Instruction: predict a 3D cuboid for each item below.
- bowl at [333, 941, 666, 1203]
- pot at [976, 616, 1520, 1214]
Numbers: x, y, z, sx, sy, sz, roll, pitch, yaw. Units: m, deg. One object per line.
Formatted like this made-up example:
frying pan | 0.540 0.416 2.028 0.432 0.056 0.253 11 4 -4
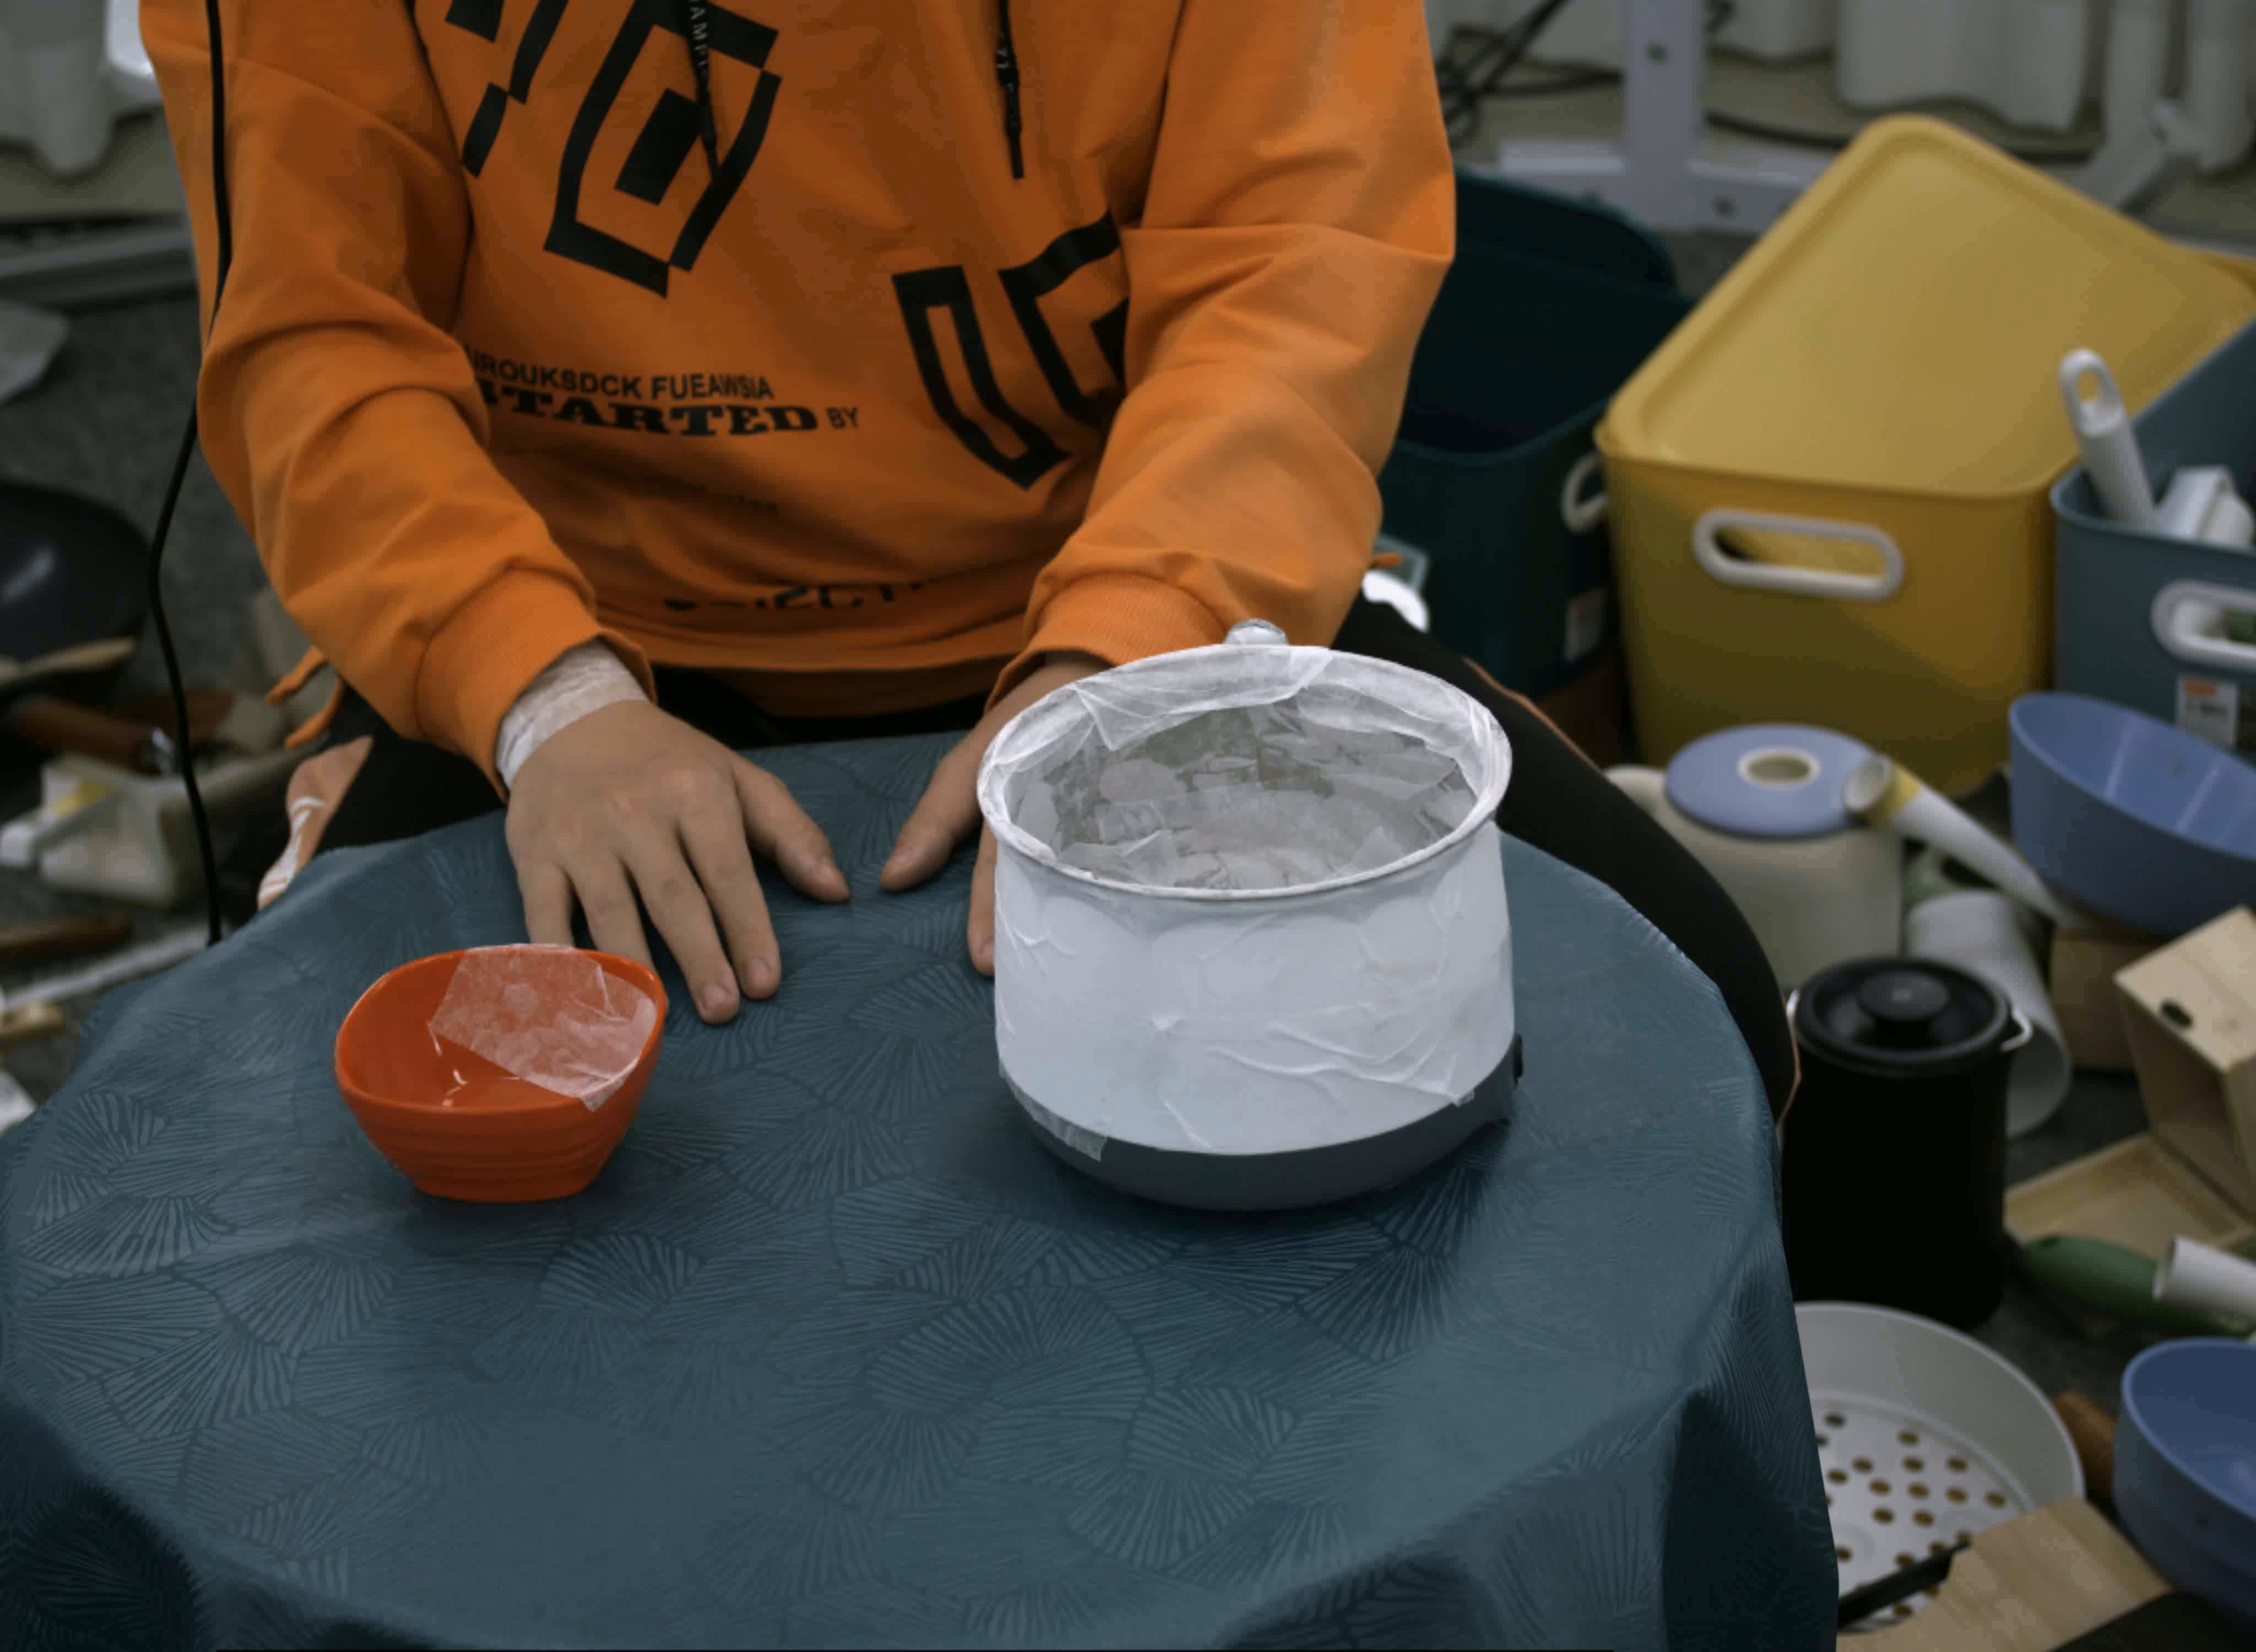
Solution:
bowl | -0.209 0.088 1.892 0.118 0.051 0.121 -3 29 2
pot | 0.042 0.023 1.901 0.178 0.135 0.237 -1 28 2
